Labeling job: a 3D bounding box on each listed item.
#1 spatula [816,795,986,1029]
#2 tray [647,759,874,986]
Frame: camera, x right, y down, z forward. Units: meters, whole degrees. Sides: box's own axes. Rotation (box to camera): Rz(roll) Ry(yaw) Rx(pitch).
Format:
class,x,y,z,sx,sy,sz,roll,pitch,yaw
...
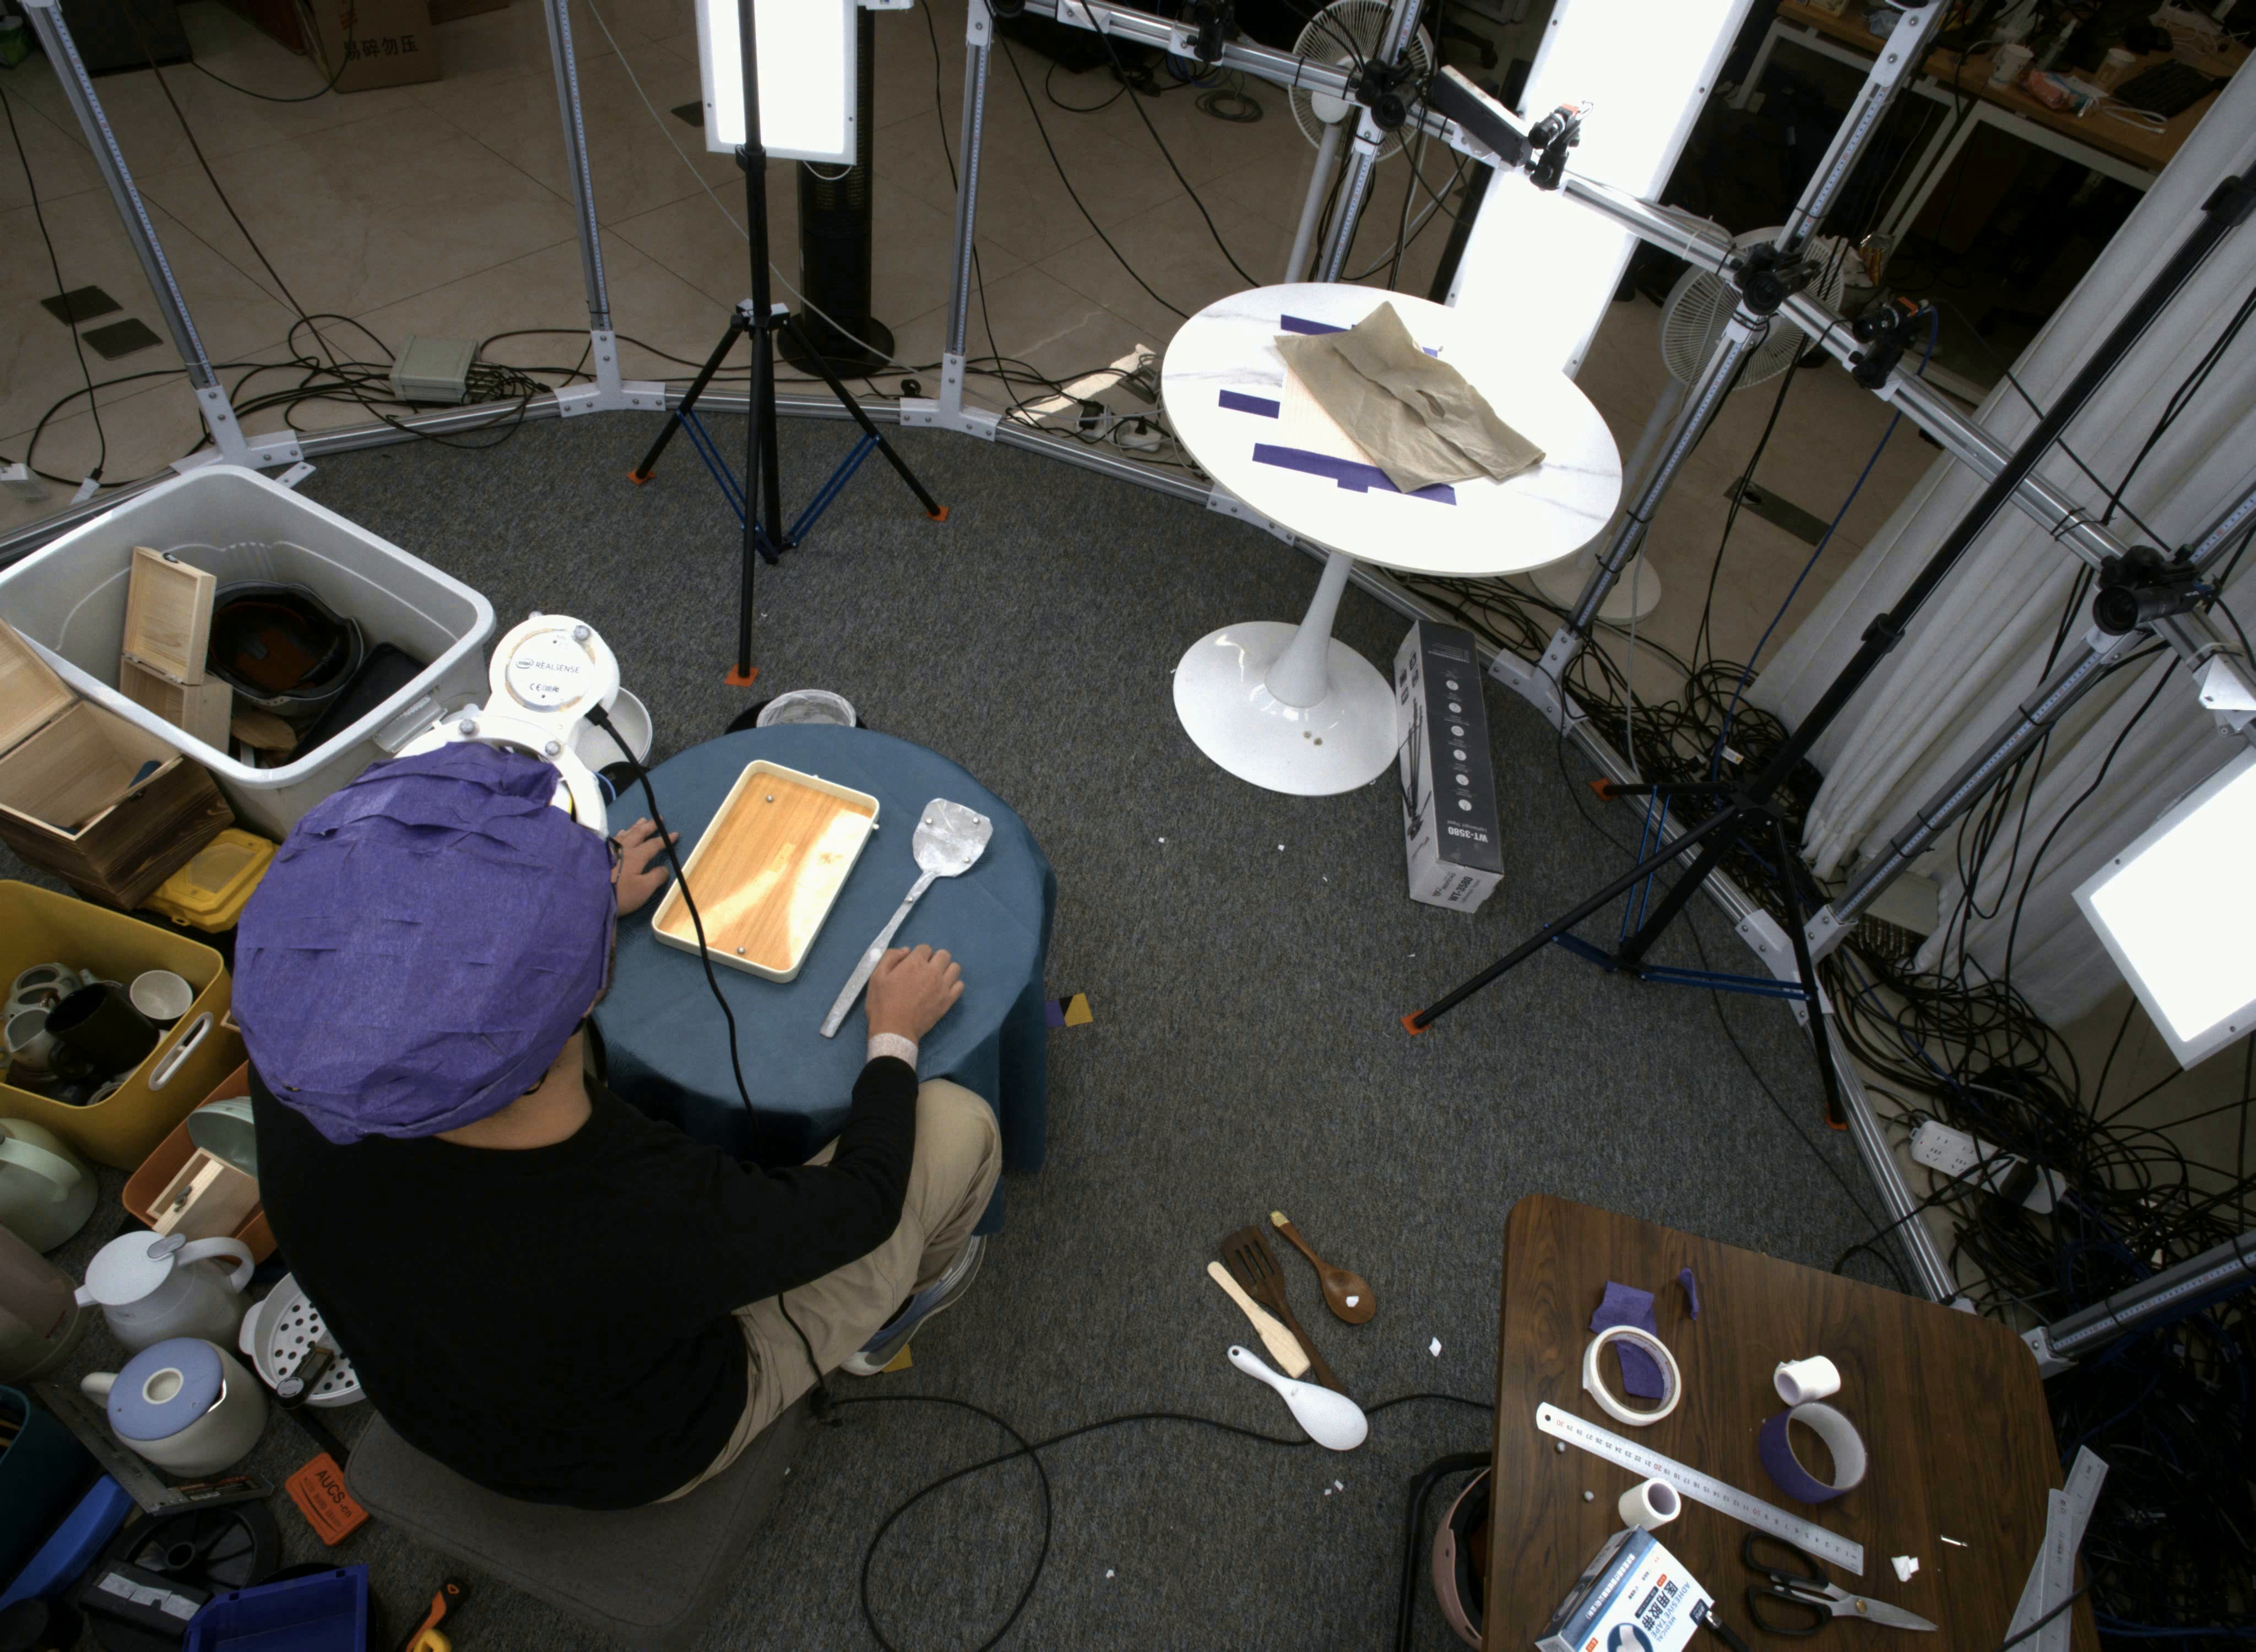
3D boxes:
class,x,y,z,sx,sy,sz,roll,pitch,yaw
spatula,-0.295,0.106,1.649,0.097,0.045,0.362,25,52,4
tray,-0.463,0.051,1.653,0.190,0.028,0.297,19,52,0
